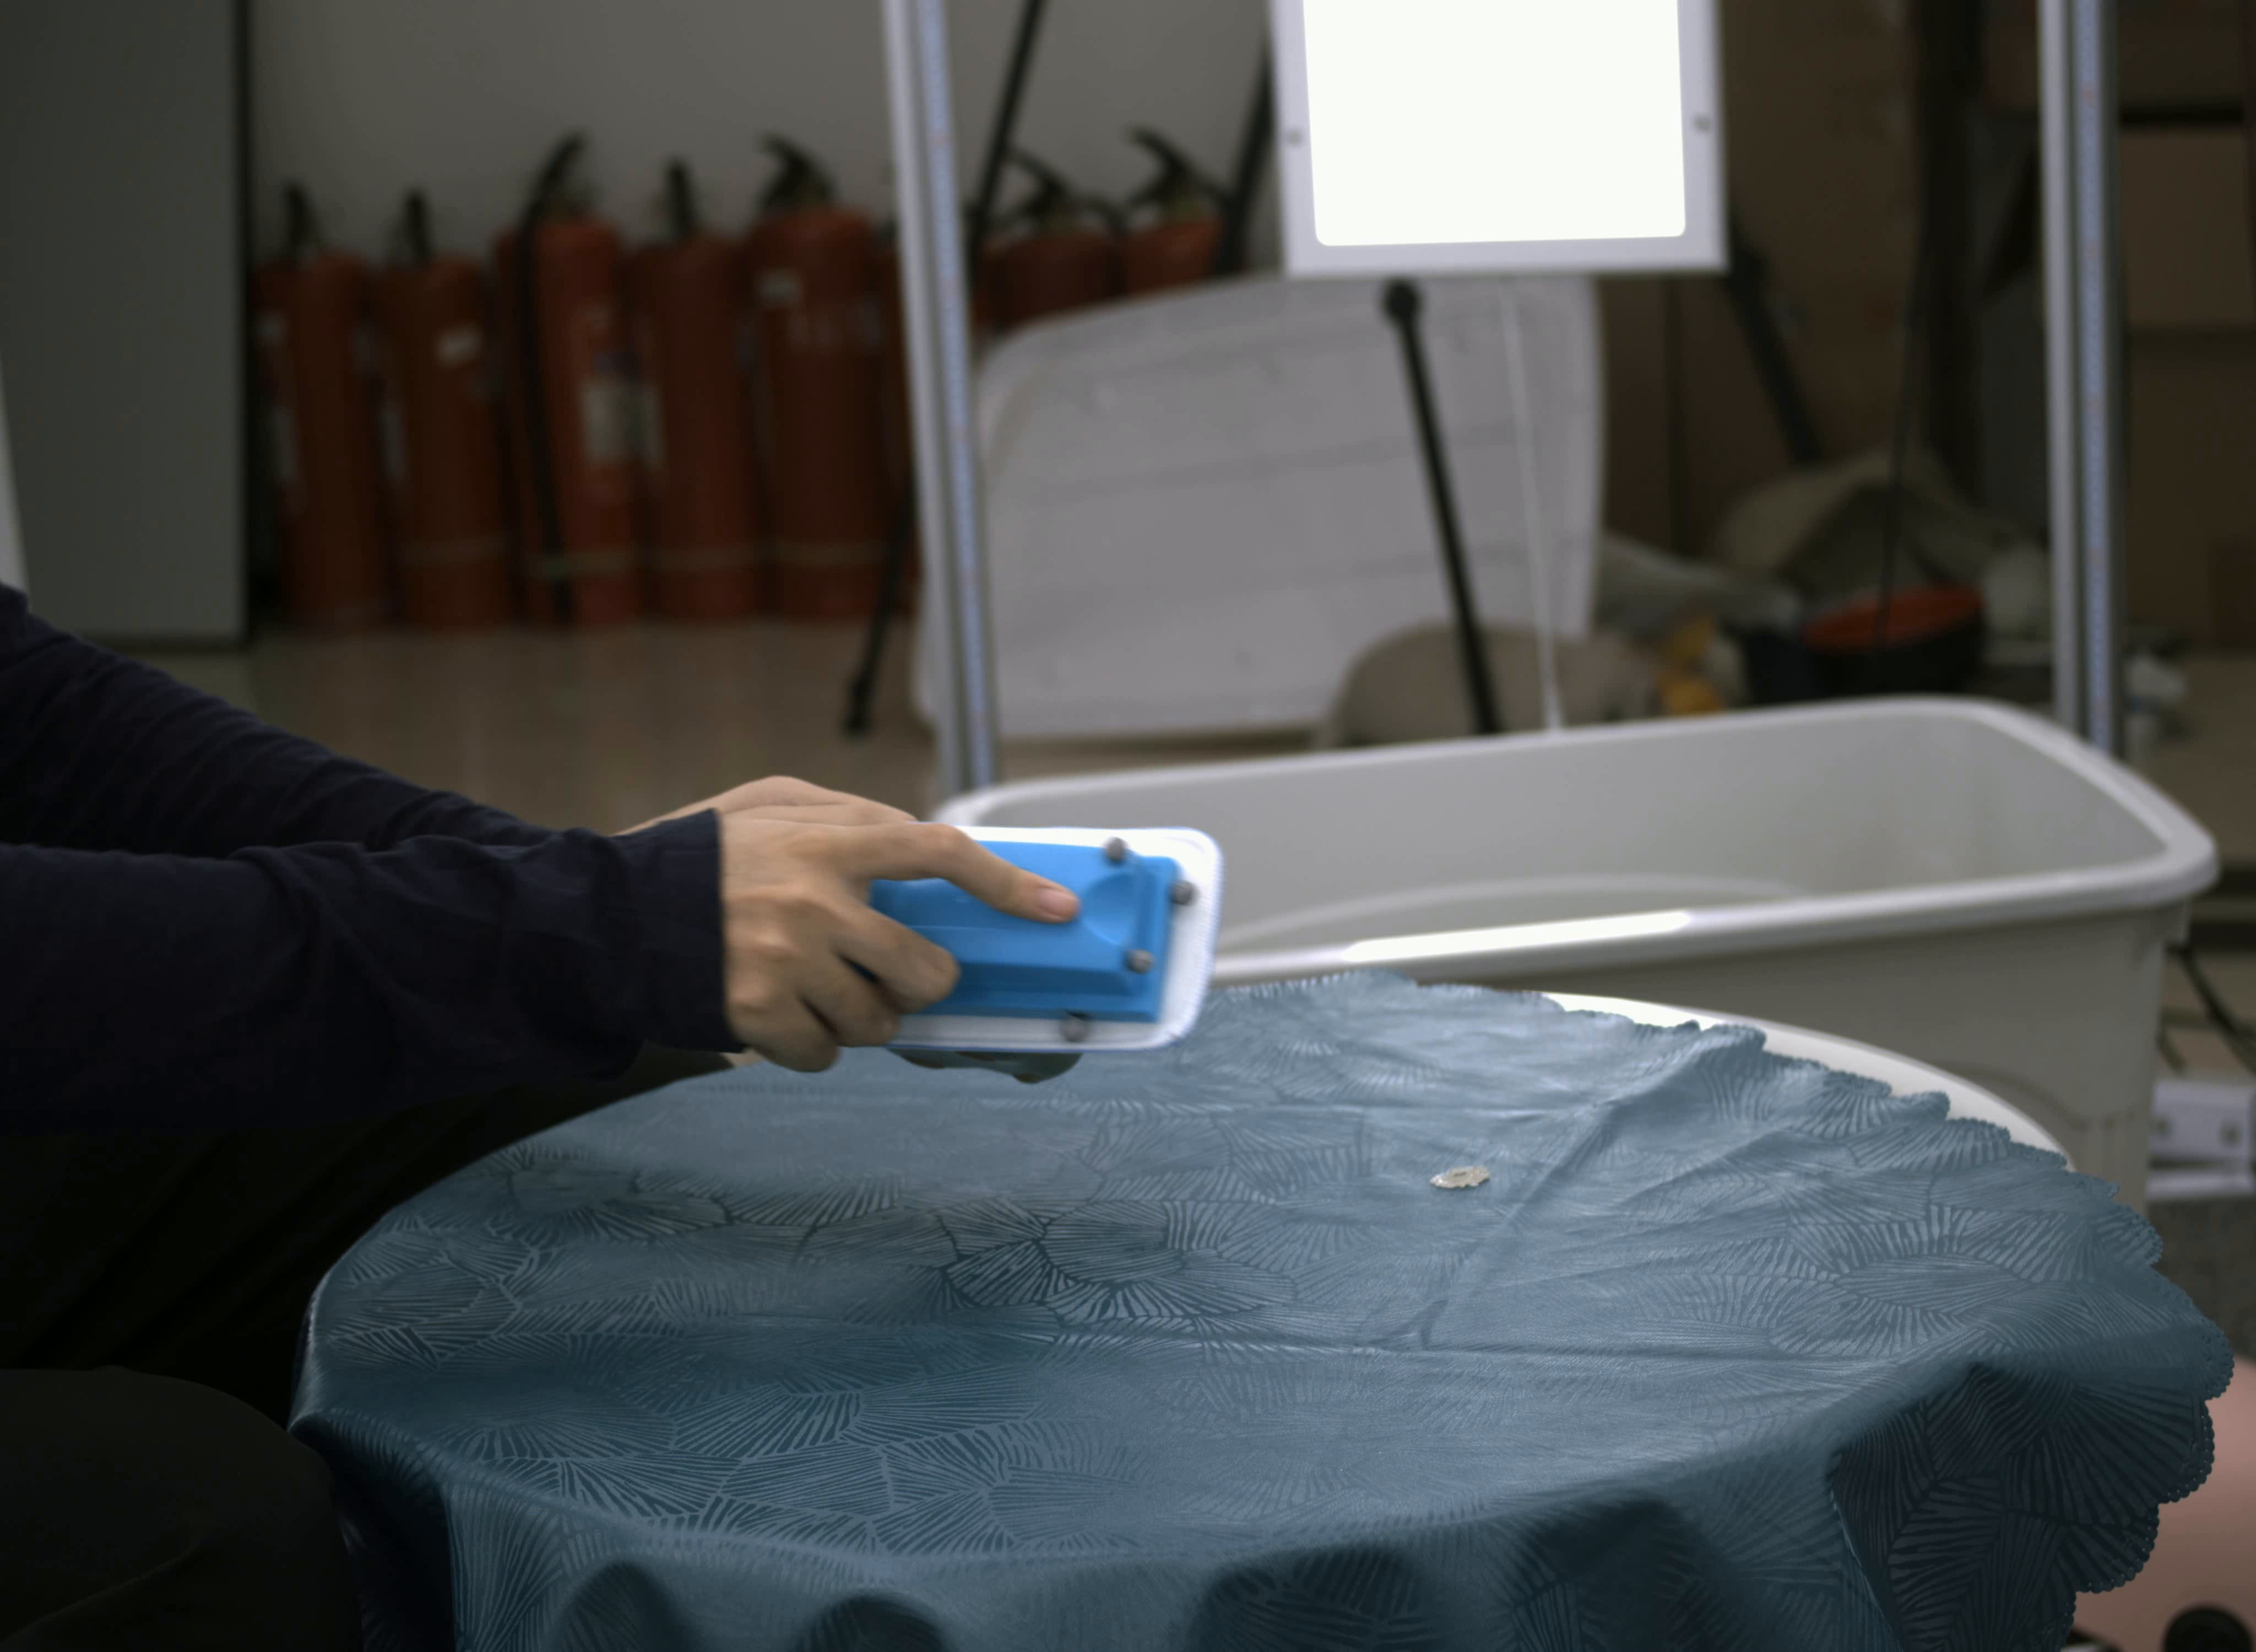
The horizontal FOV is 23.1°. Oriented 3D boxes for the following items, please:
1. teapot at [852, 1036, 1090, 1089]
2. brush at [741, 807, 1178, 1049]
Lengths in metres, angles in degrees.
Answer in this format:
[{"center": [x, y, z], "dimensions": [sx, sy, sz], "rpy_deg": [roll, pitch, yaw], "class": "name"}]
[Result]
[{"center": [-0.052, 0.046, 1.873], "dimensions": [0.135, 0.075, 0.078], "rpy_deg": [6, -13, 28], "class": "teapot"}, {"center": [-0.059, 0.029, 1.808], "dimensions": [0.145, 0.083, 0.055], "rpy_deg": [3, -26, 18], "class": "brush"}]
